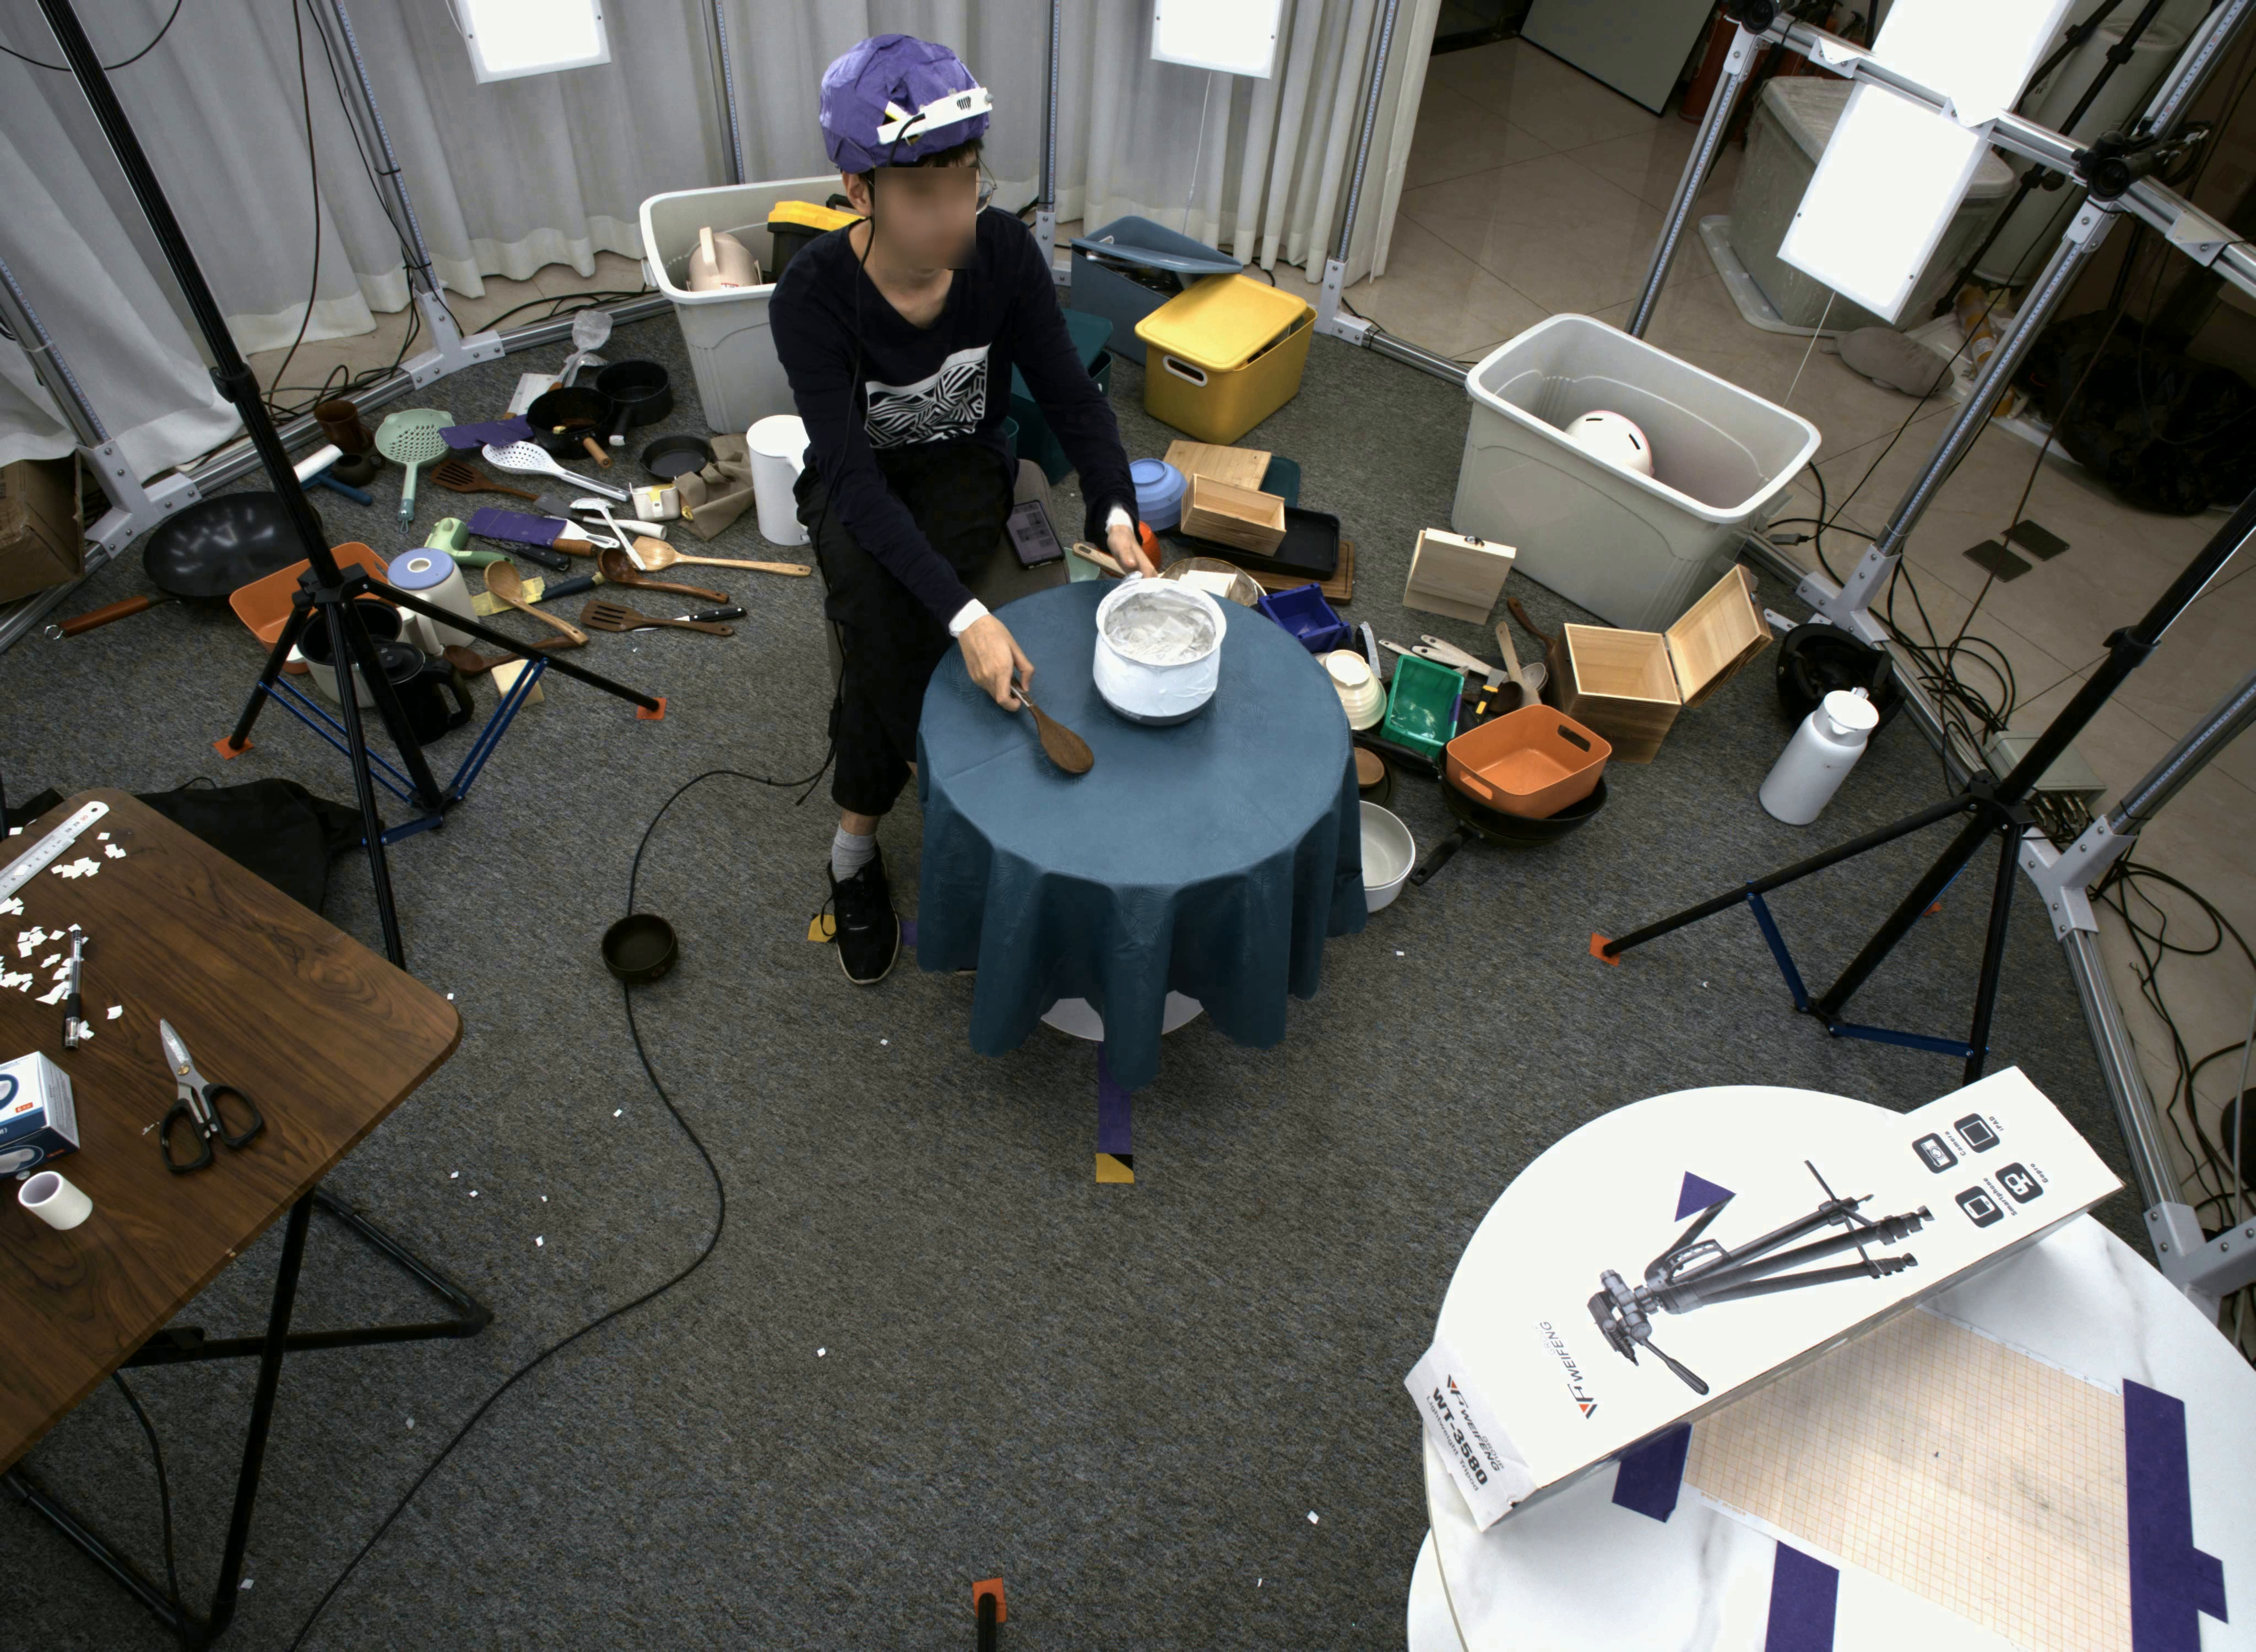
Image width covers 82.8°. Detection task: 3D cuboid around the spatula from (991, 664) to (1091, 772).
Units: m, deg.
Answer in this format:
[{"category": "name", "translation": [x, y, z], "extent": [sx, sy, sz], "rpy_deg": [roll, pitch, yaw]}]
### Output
[{"category": "spatula", "translation": [-0.124, -0.150, 1.758], "extent": [0.072, 0.009, 0.219], "rpy_deg": [-9, 51, -47]}]

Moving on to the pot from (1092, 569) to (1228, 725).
[{"category": "pot", "translation": [0.031, -0.260, 1.804], "extent": [0.179, 0.133, 0.239], "rpy_deg": [-12, 53, -18]}]
